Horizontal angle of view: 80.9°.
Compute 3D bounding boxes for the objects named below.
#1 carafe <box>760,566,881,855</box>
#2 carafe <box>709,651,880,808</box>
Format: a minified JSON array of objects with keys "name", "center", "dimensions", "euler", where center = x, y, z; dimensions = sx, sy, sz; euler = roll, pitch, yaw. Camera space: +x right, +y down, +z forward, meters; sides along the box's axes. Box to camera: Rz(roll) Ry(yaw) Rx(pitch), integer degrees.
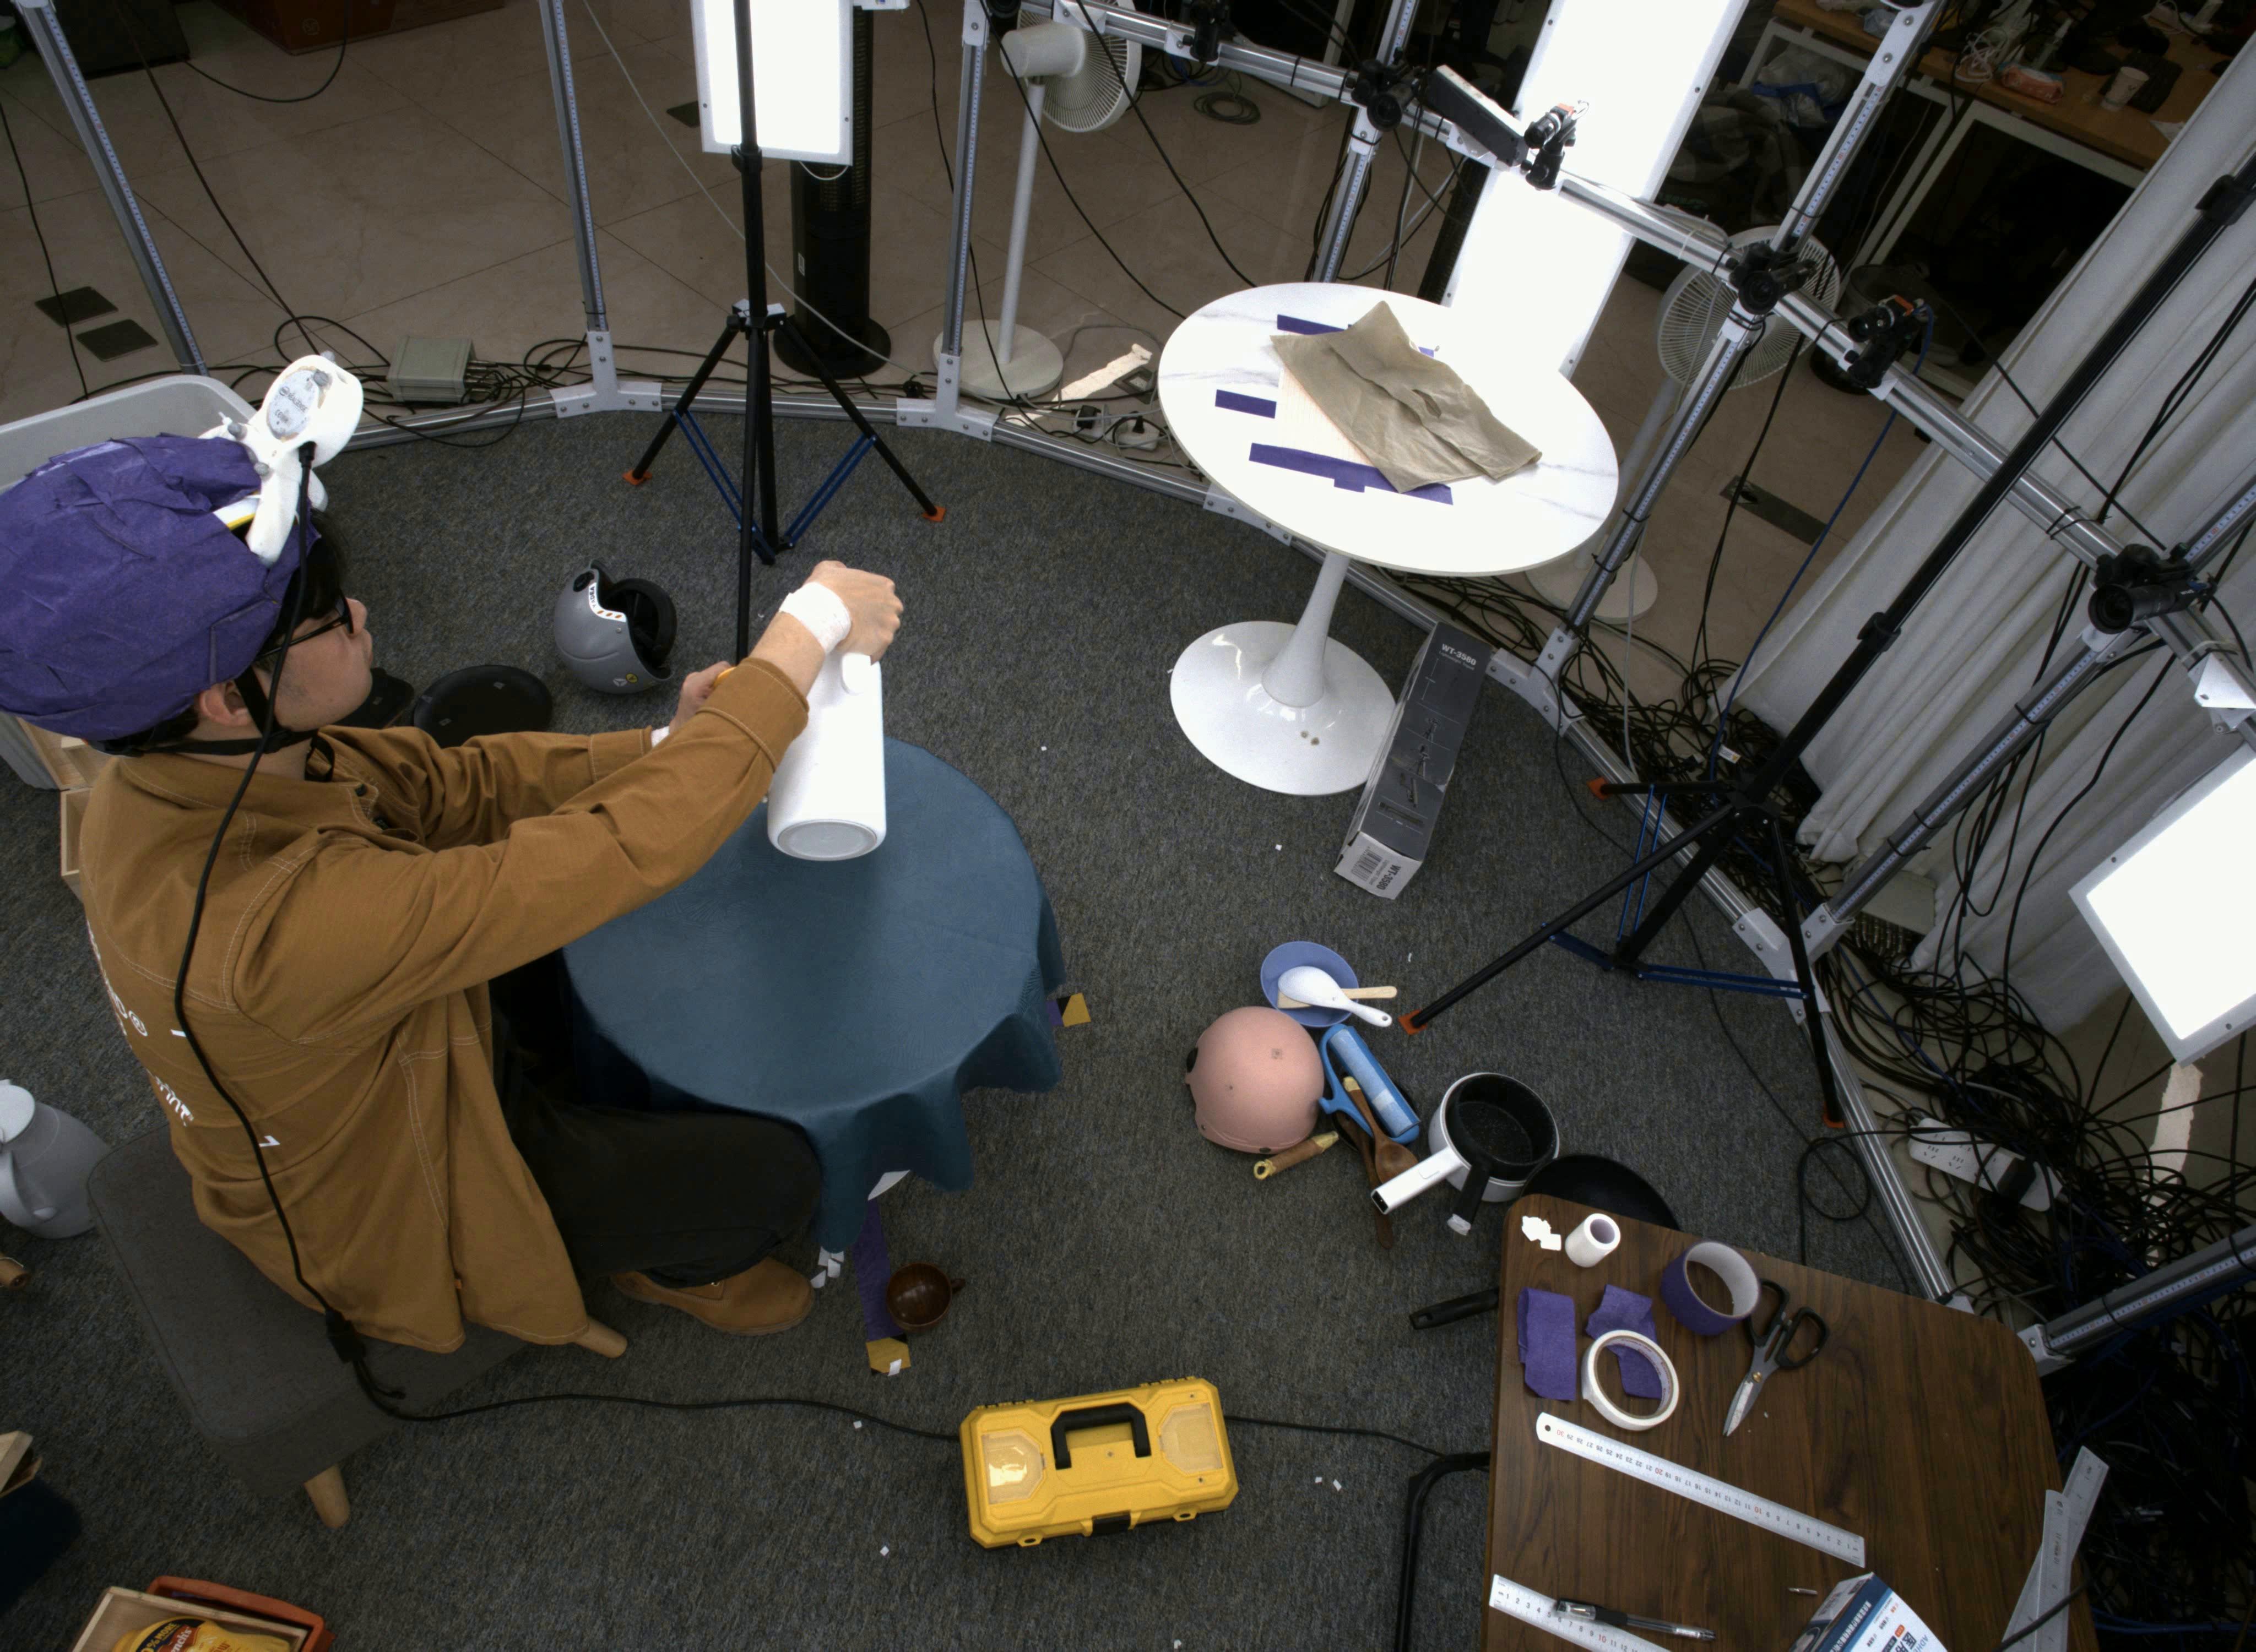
[{"name":"carafe","center":[-0.307,-0.121,1.316],"dimensions":[0.126,0.171,0.266],"euler":[10,63,-30]},{"name":"carafe","center":[-0.402,-0.129,1.566],"dimensions":[0.203,0.263,0.161],"euler":[1,60,-16]}]
